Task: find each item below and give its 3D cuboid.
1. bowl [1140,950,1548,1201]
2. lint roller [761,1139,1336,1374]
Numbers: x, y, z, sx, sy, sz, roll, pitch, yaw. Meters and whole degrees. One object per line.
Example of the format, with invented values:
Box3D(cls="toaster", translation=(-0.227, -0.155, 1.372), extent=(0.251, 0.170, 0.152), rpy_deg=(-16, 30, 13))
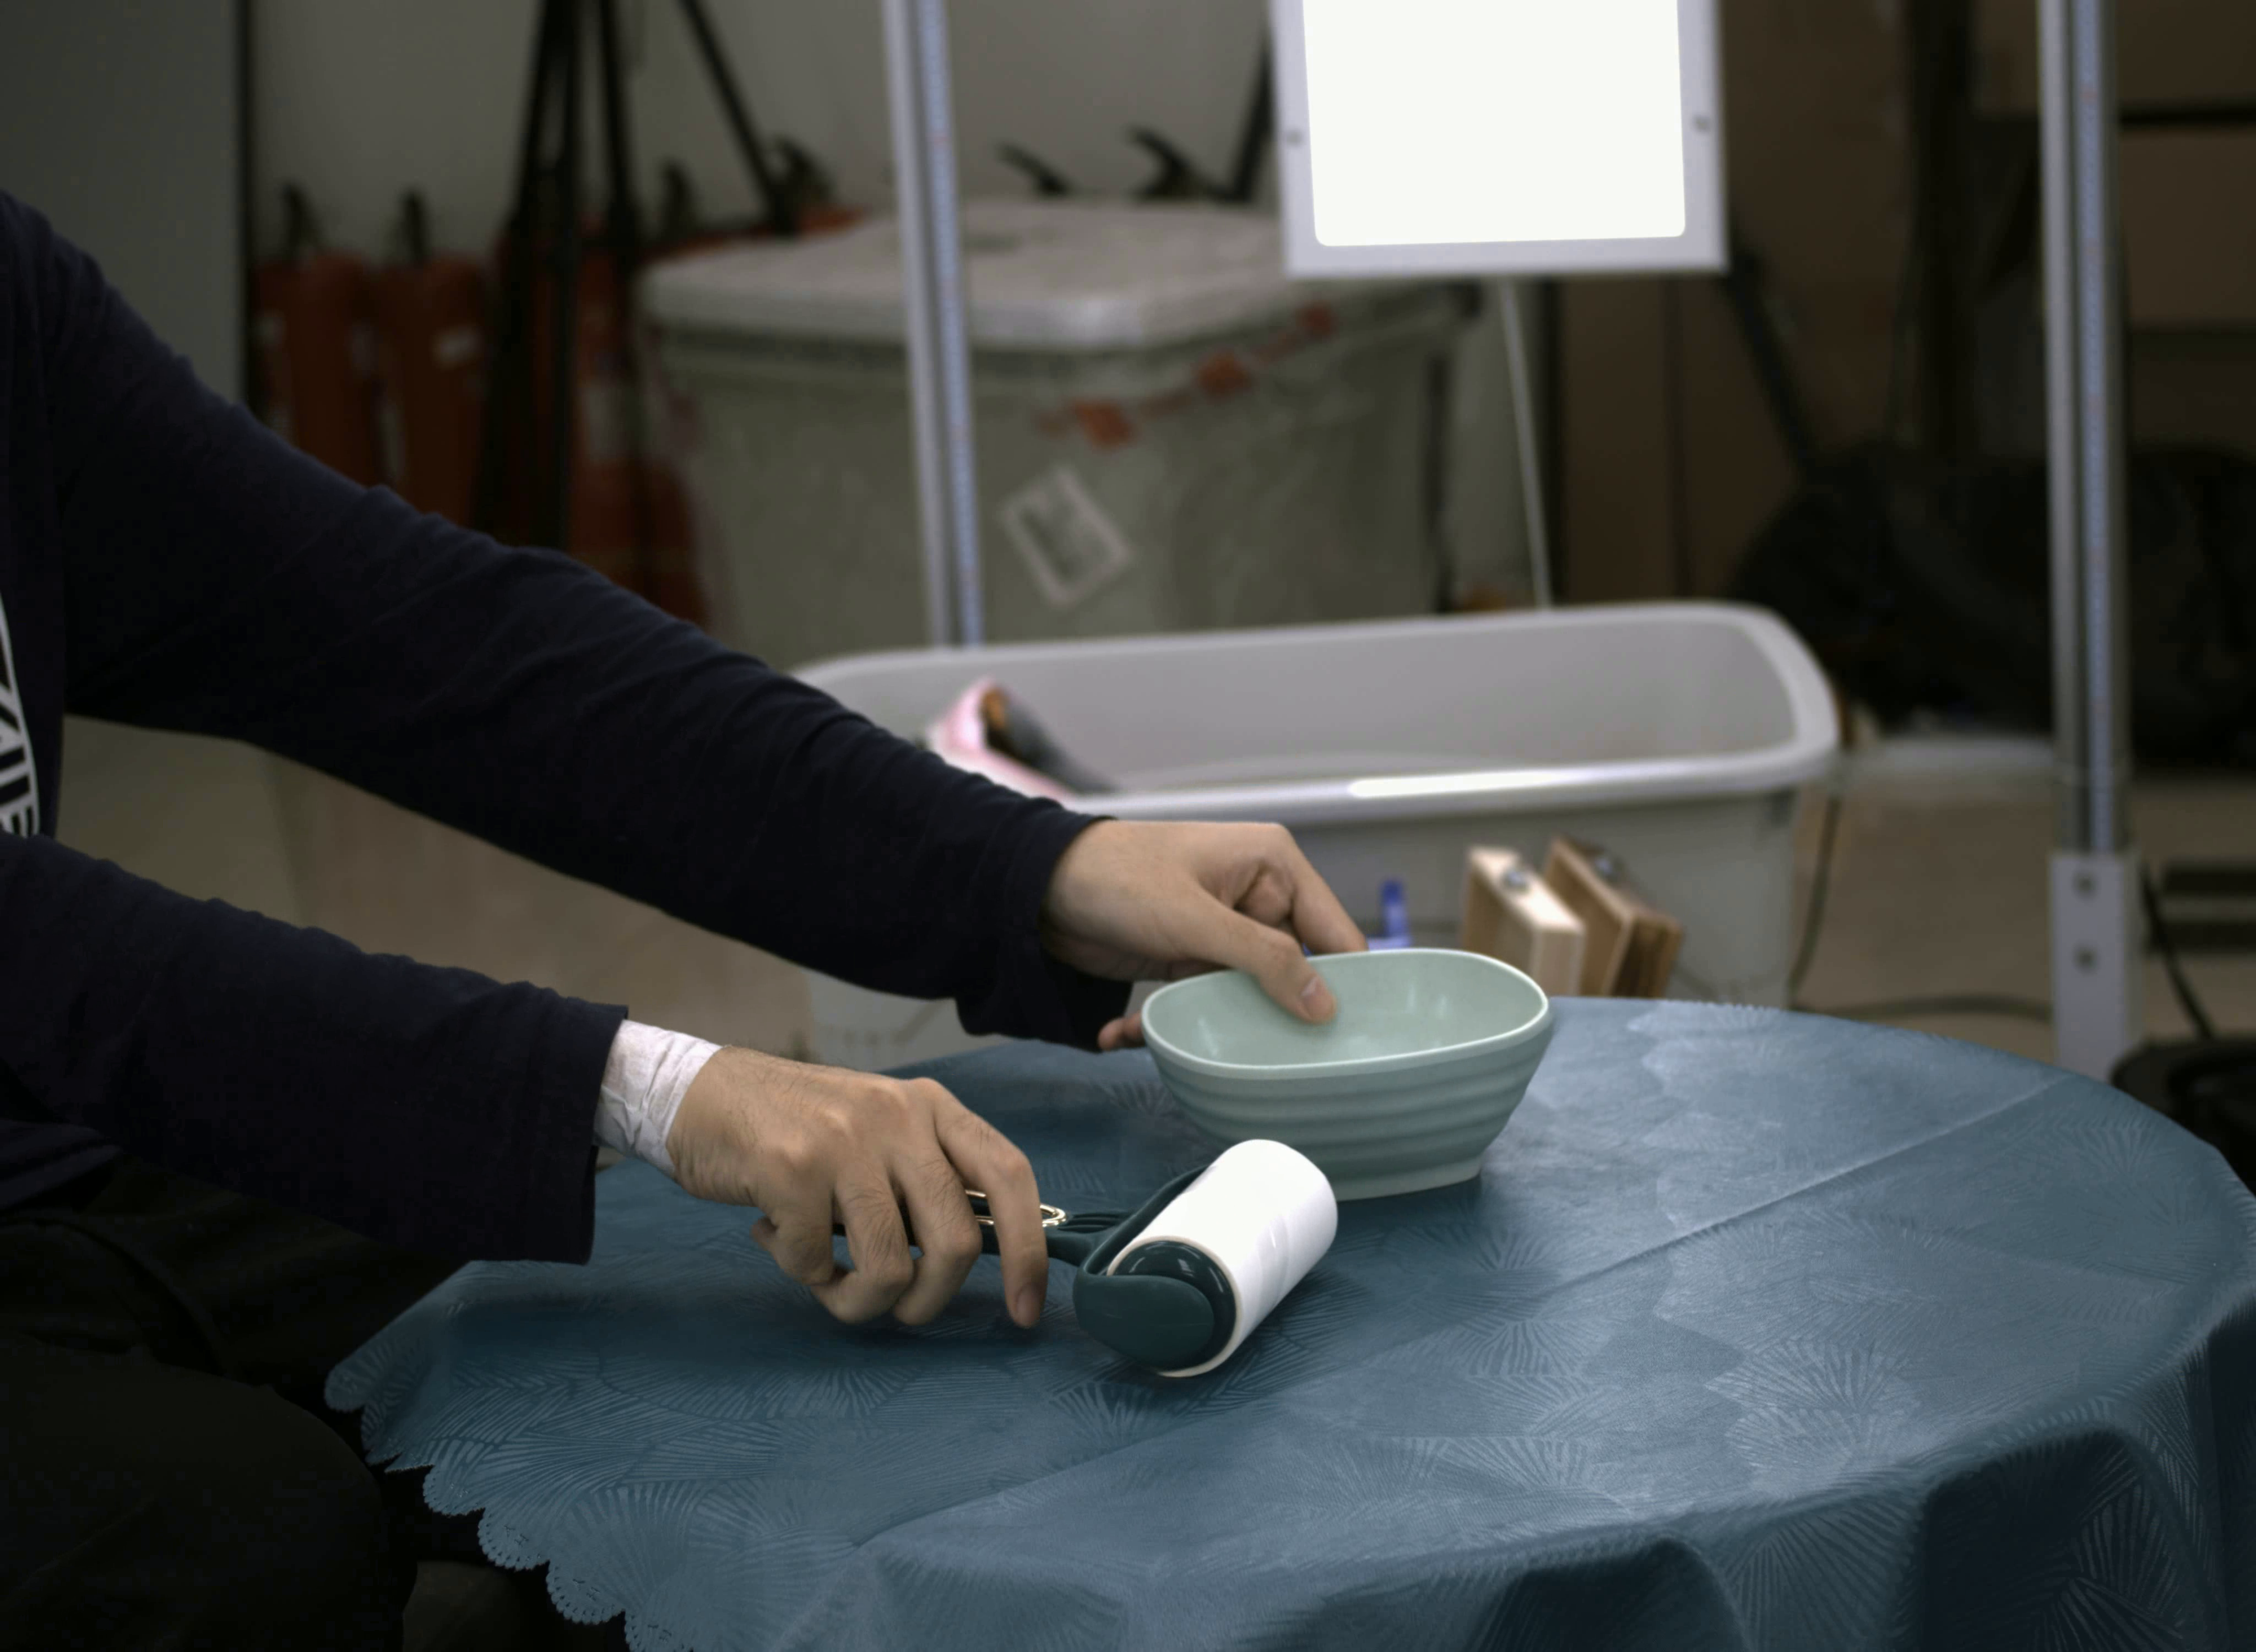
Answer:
Box3D(cls="bowl", translation=(0.075, 0.089, 1.908), extent=(0.151, 0.059, 0.151), rpy_deg=(-3, 14, -1))
Box3D(cls="lint roller", translation=(-0.033, 0.125, 1.772), extent=(0.182, 0.048, 0.132), rpy_deg=(10, 18, 19))
